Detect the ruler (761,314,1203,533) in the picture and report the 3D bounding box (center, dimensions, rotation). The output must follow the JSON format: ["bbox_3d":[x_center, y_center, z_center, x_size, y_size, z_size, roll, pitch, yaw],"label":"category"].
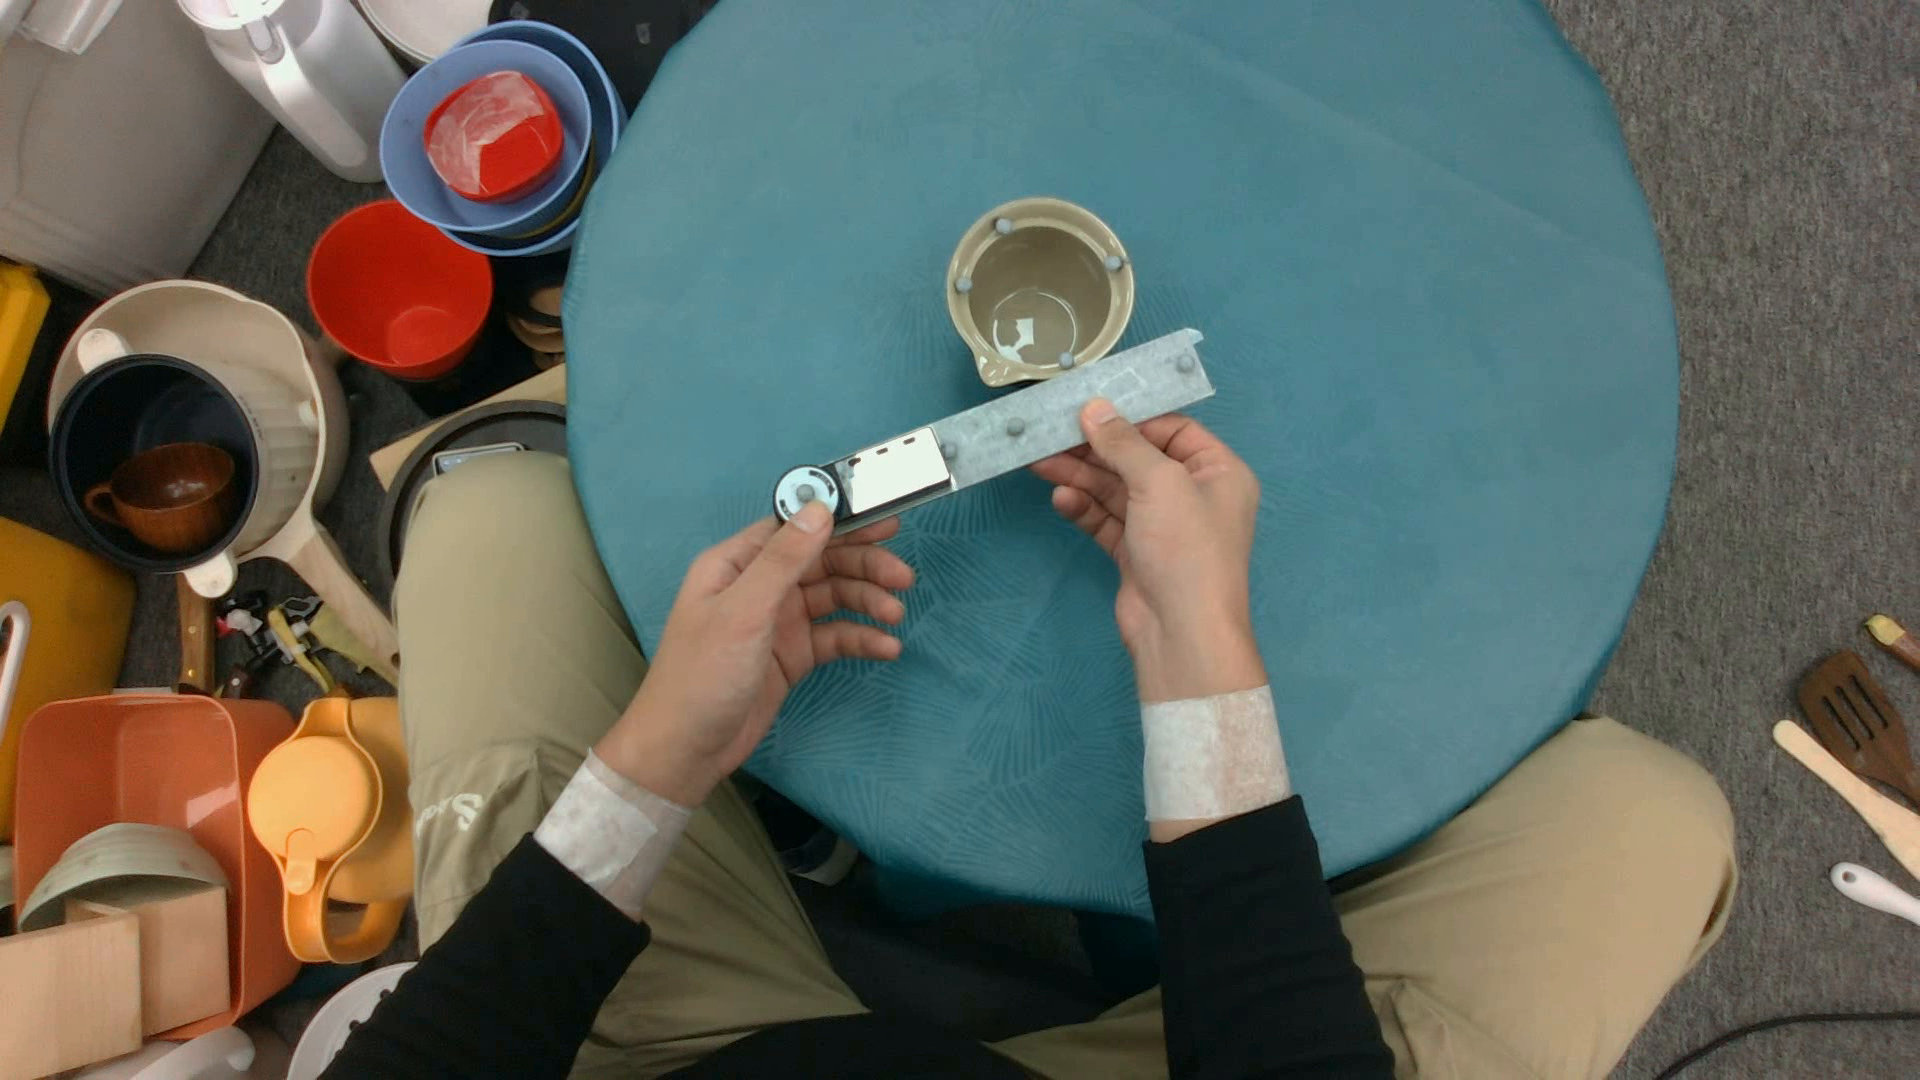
[{"bbox_3d":[0.010,-0.055,0.647,0.218,0.024,0.038,-21,86,-5],"label":"ruler"}]

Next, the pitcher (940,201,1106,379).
[{"bbox_3d":[0.028,-0.118,0.707,0.083,0.071,0.096,27,79,3],"label":"pitcher"}]
